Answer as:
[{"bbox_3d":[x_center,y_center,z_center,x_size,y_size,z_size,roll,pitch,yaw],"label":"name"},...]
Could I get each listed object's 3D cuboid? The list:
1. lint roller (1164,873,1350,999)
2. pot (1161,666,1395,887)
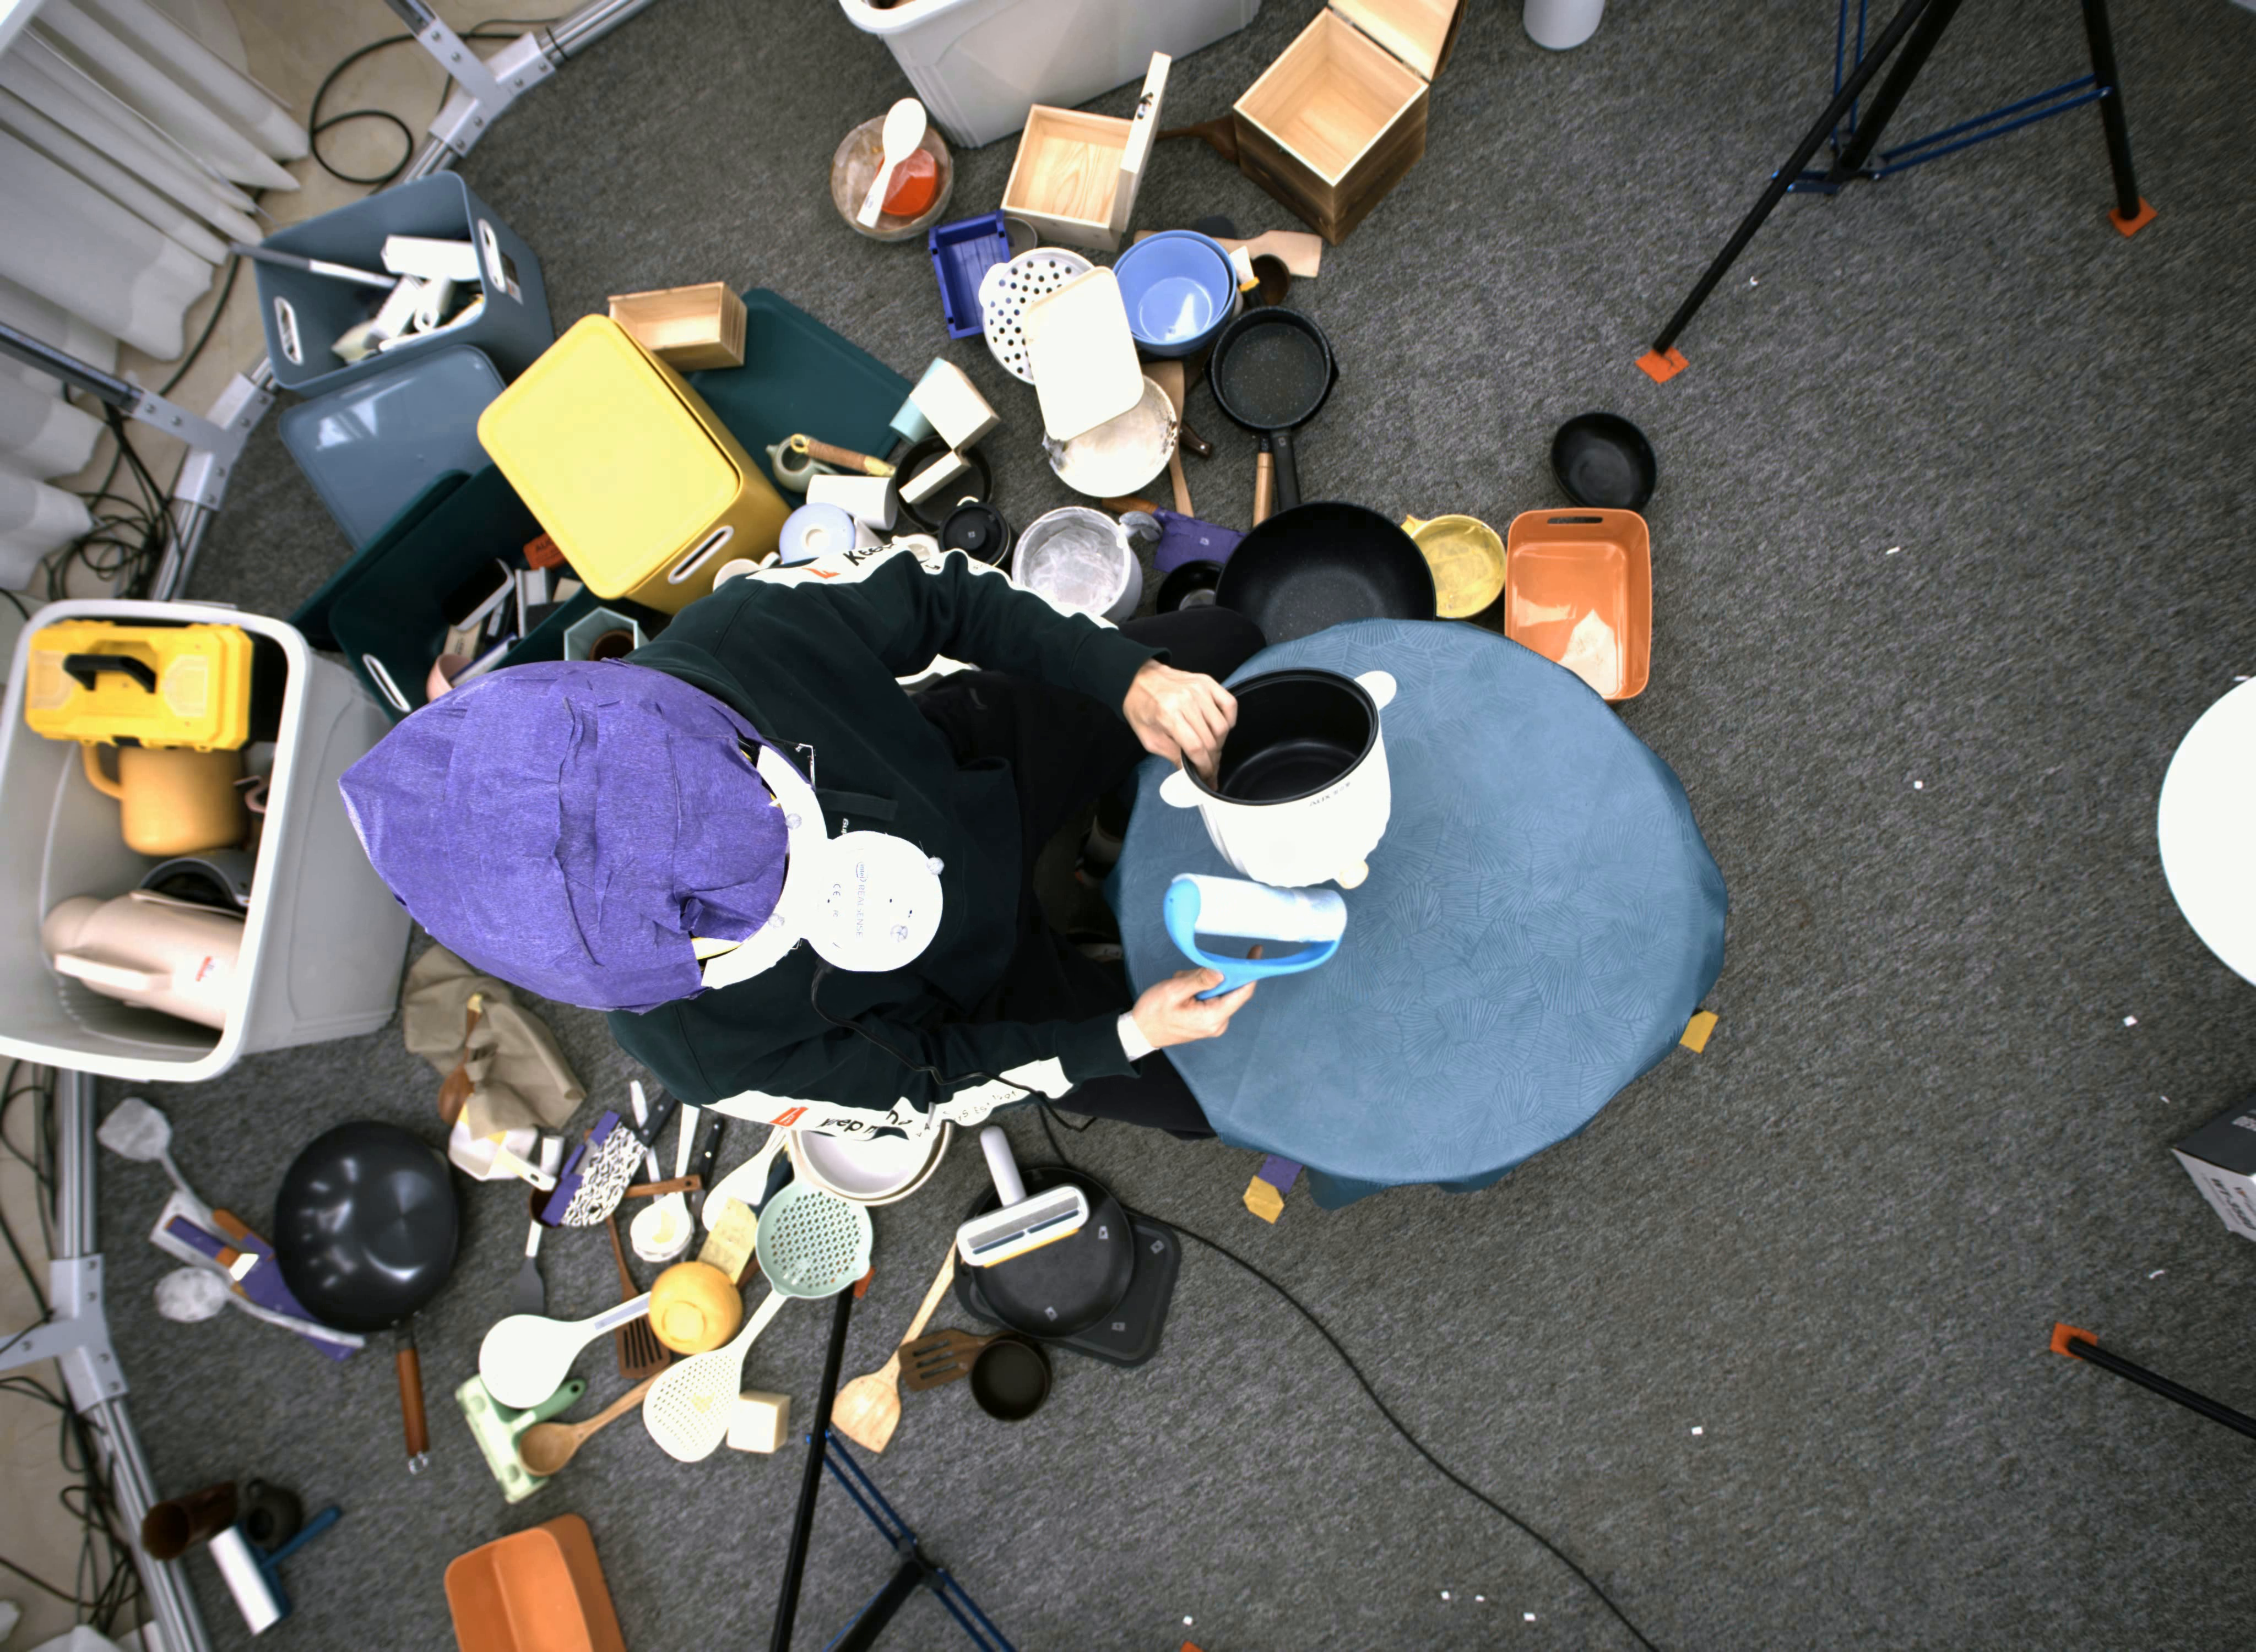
[{"bbox_3d":[0.099,0.120,1.326,0.184,0.227,0.067,-58,47,31],"label":"lint roller"},{"bbox_3d":[0.156,-0.037,1.276,0.240,0.145,0.187,-30,41,-5],"label":"pot"}]
